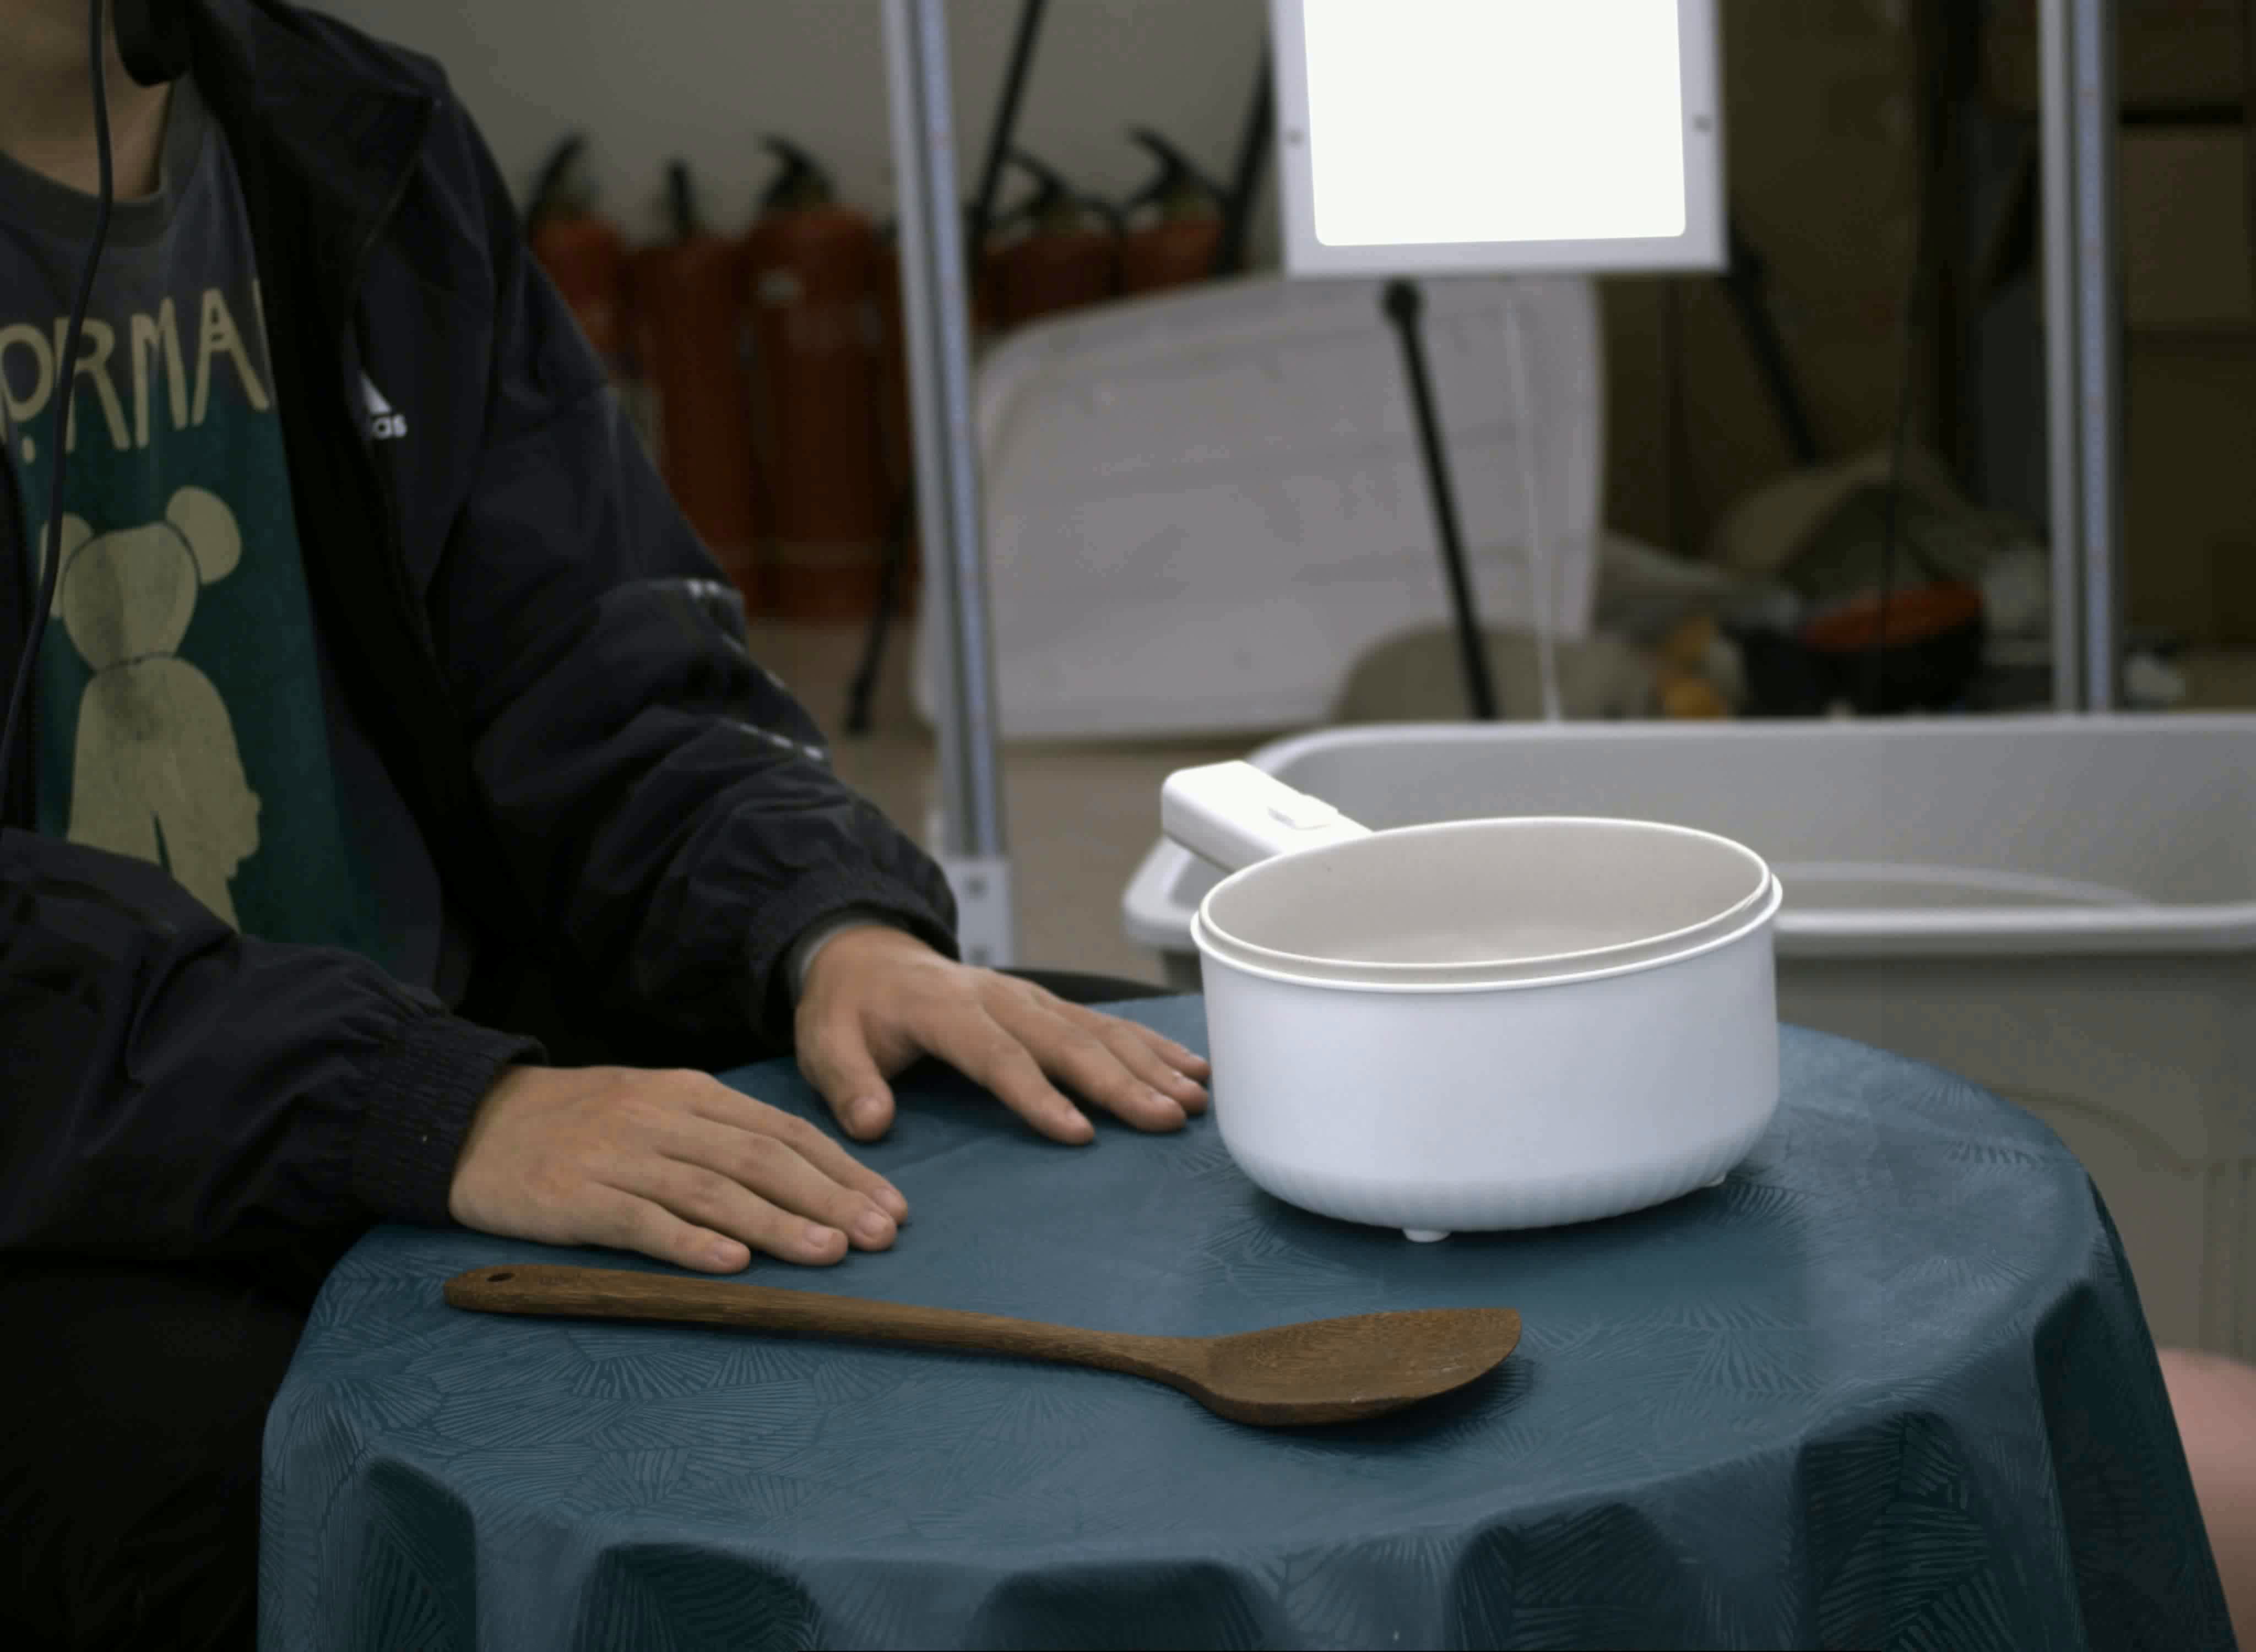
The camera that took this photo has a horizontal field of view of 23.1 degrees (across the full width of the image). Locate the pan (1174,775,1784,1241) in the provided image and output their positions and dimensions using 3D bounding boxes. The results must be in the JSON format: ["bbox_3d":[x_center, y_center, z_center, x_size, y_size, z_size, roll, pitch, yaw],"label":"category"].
[{"bbox_3d":[0.098,0.057,1.944,0.198,0.102,0.359,-11,13,-18],"label":"pan"}]

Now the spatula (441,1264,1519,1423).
[{"bbox_3d":[-0.059,0.160,1.753,0.393,0.016,0.094,2,15,30],"label":"spatula"}]
